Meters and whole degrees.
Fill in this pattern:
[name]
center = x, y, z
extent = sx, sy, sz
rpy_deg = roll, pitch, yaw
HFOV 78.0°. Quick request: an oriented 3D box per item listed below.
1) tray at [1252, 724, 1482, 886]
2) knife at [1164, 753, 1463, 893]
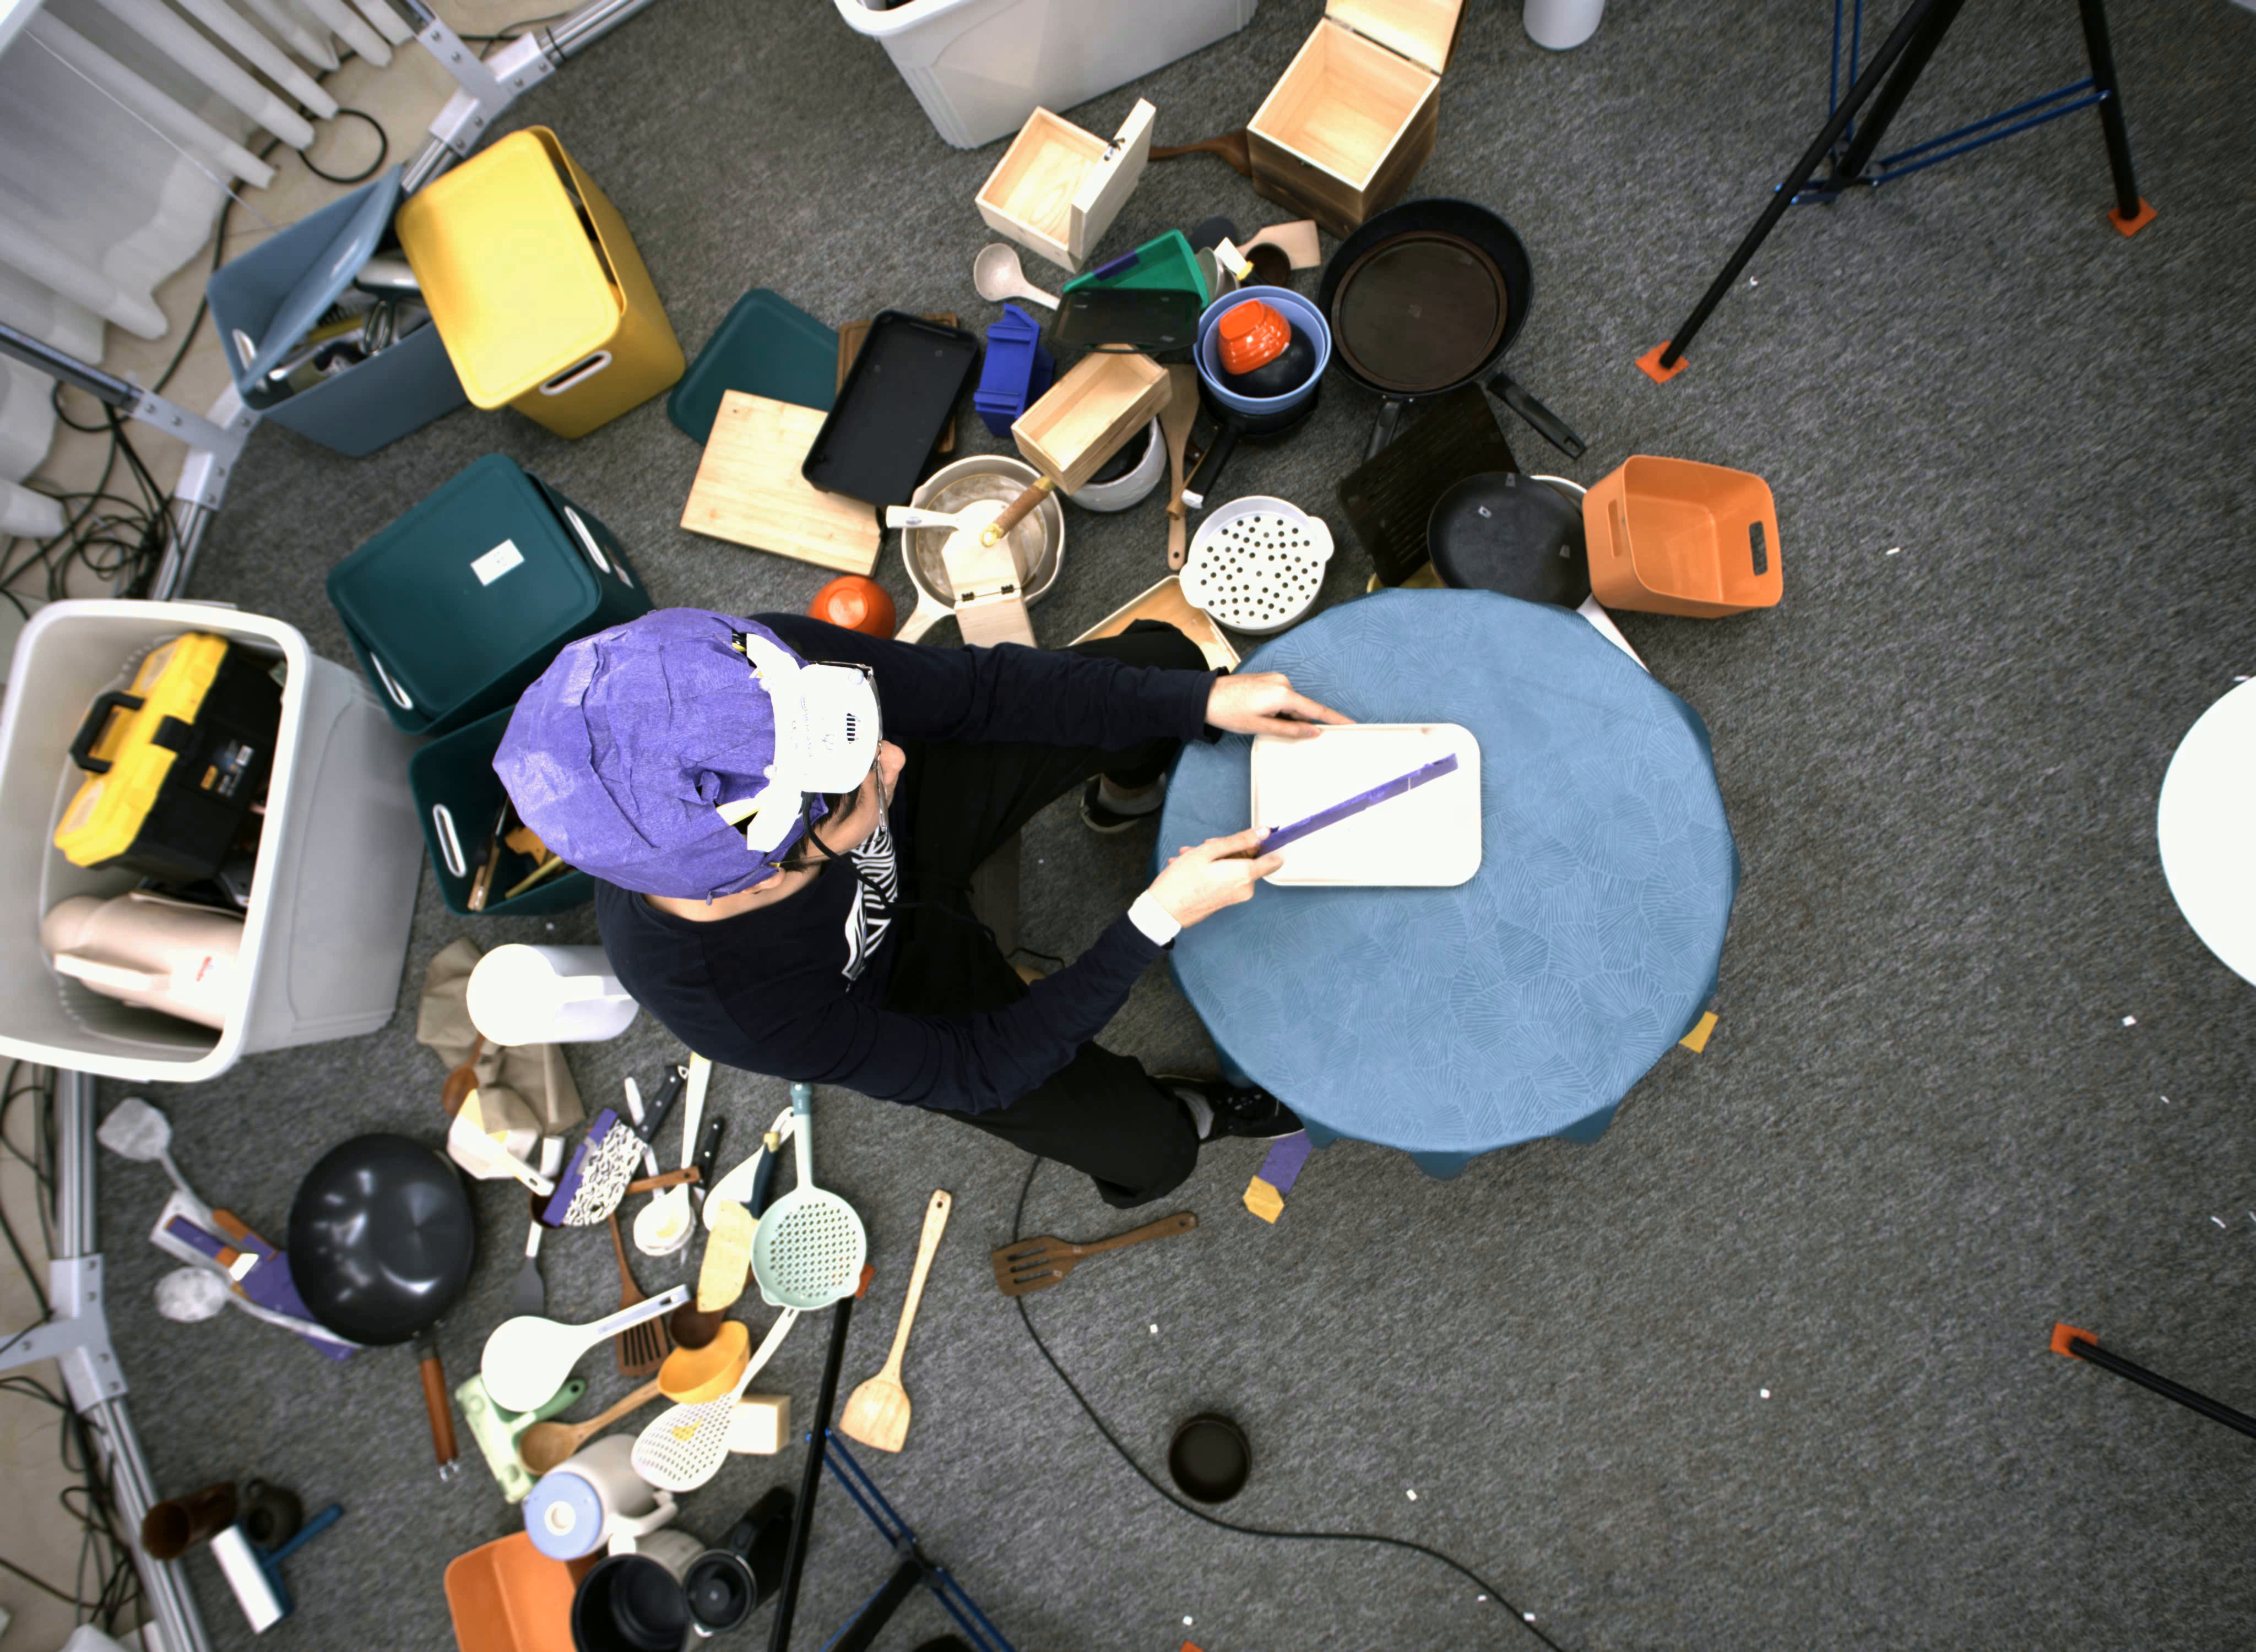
[tray]
center = 0.250, -0.023, 1.448
extent = 0.240, 0.017, 0.171
rpy_deg = 0, 90, 5
[knife]
center = 0.190, -0.001, 1.391
extent = 0.317, 0.104, 0.032
rpy_deg = -22, 76, 9
